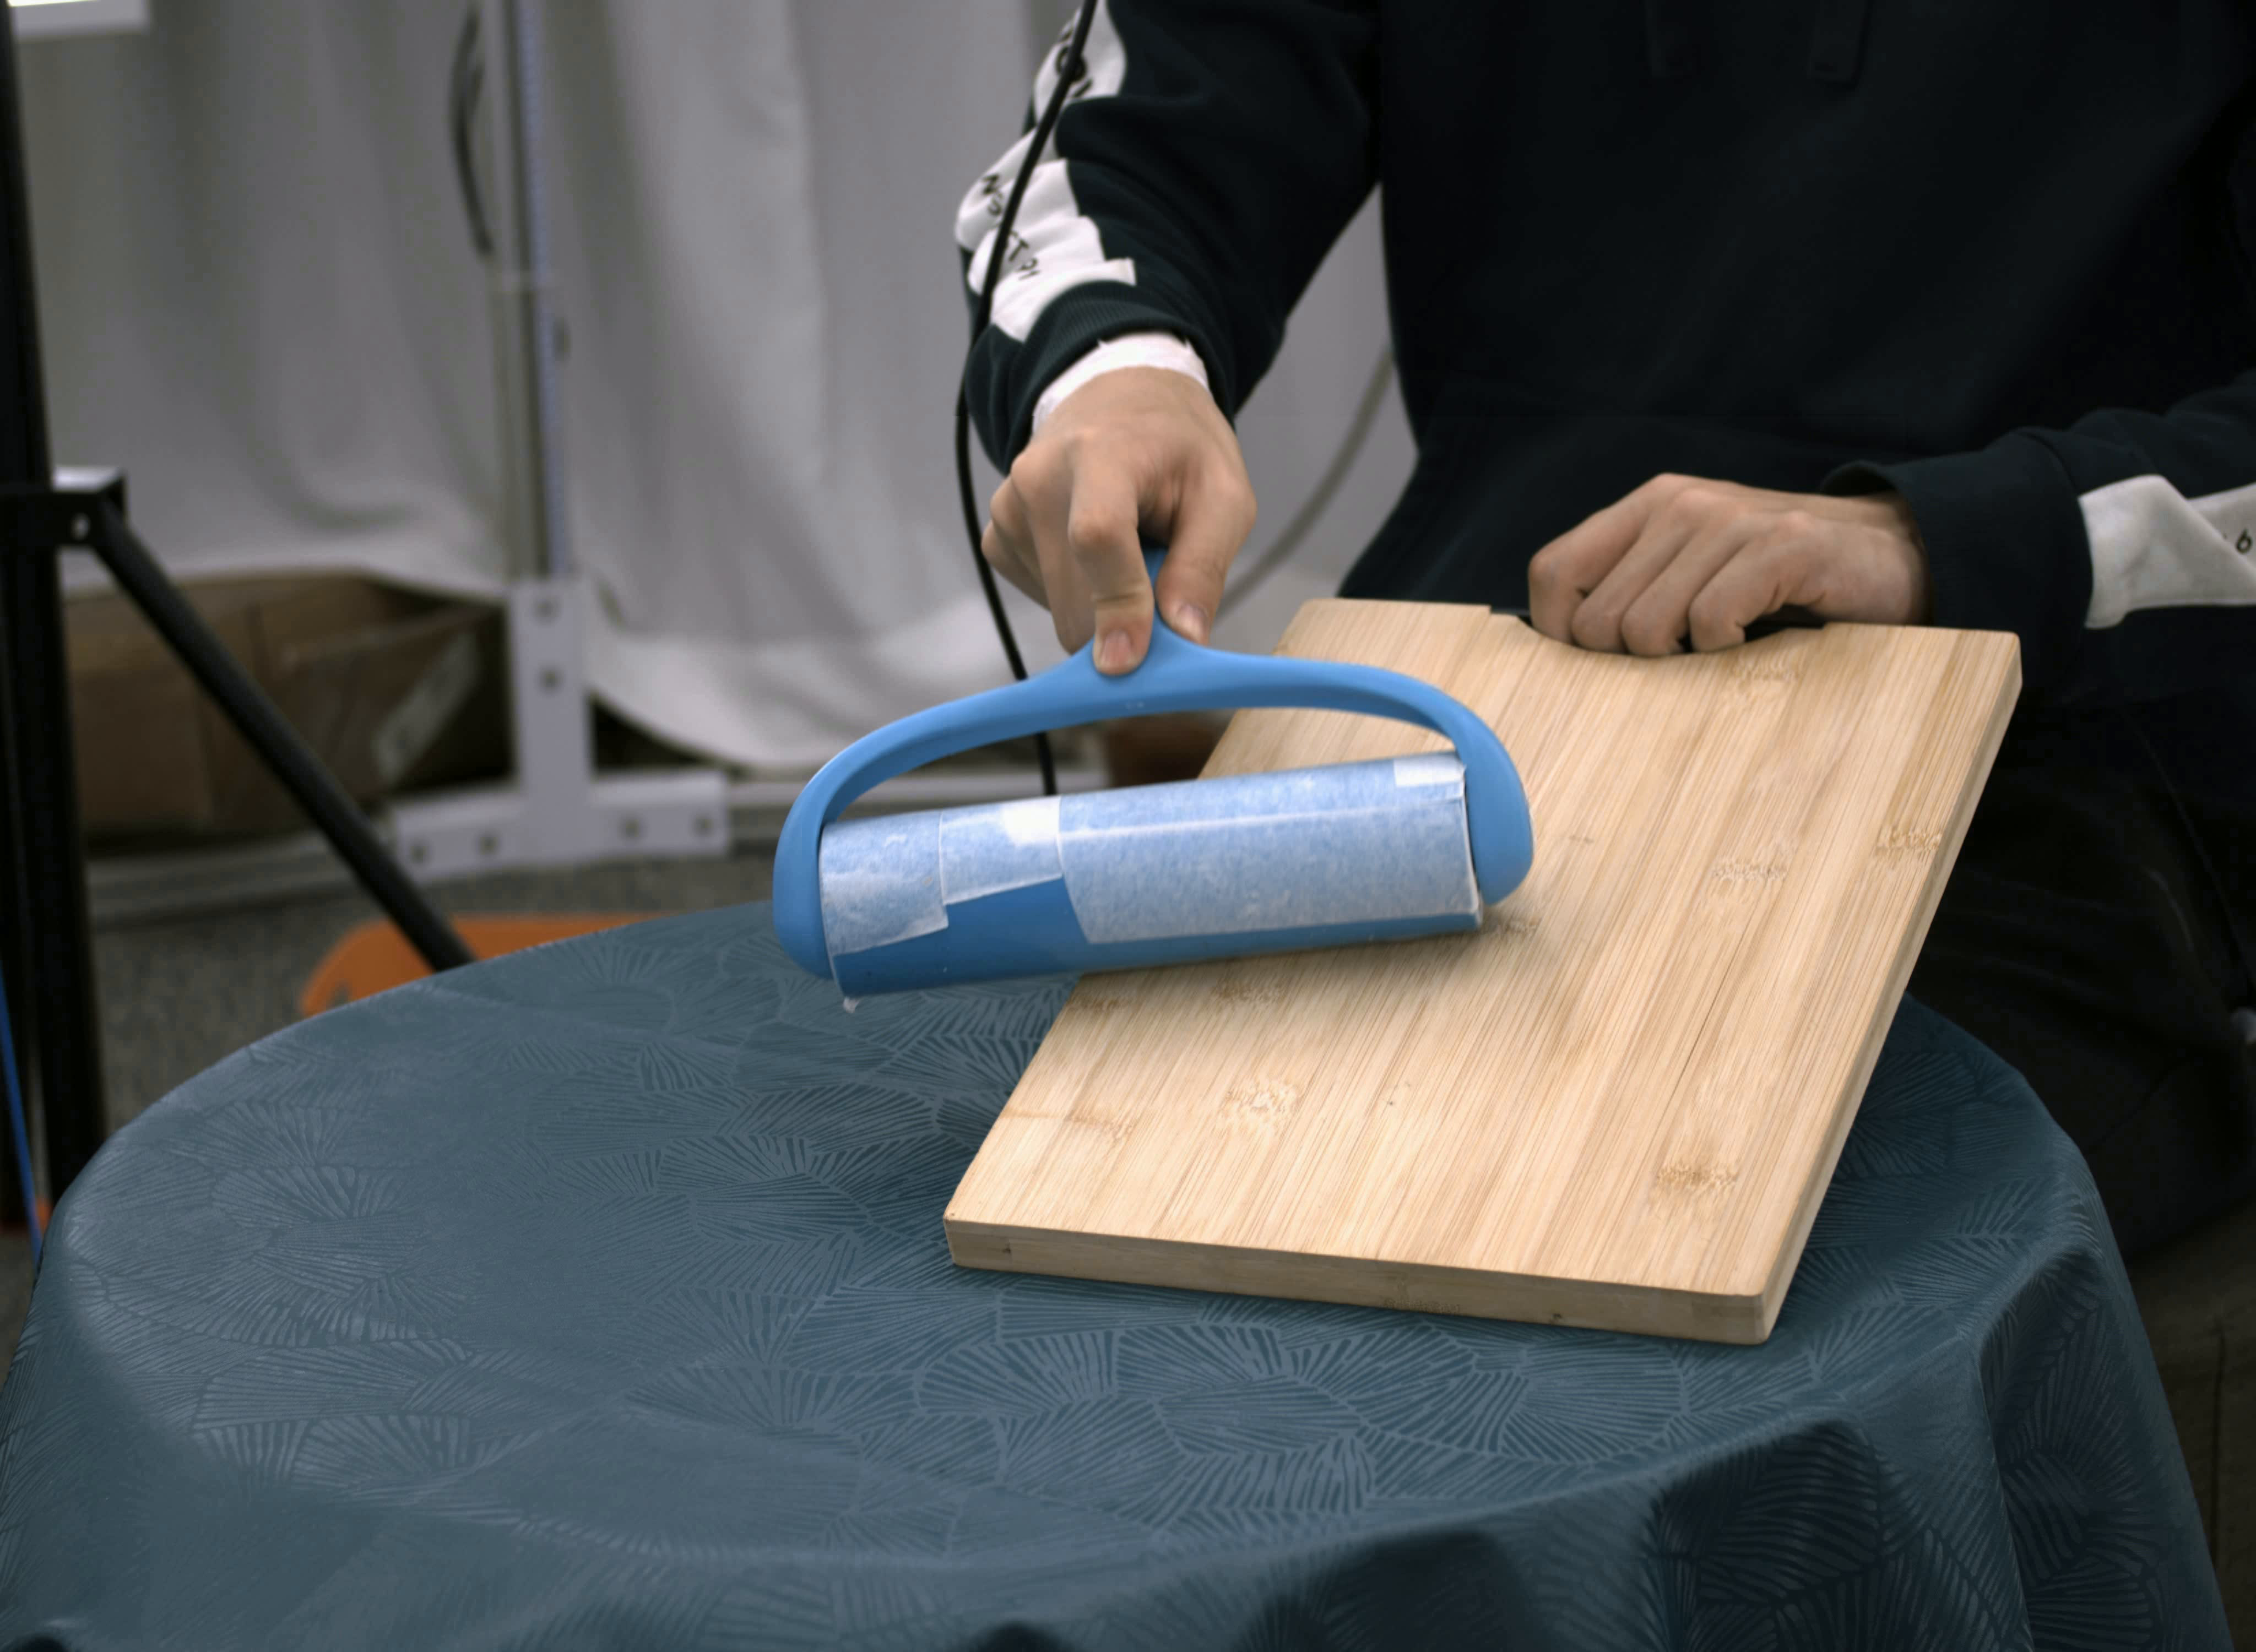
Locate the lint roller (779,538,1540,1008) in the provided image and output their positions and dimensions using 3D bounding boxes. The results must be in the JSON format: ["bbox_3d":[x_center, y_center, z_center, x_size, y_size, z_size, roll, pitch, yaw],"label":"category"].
[{"bbox_3d":[0.004,-0.033,1.616,0.229,0.067,0.182,-10,52,7],"label":"lint roller"}]

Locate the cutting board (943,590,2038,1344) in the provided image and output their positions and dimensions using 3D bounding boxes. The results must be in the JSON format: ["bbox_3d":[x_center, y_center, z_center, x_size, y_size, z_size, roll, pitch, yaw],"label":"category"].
[{"bbox_3d":[0.117,0.032,1.587,0.254,0.023,0.347,3,35,21],"label":"cutting board"}]
